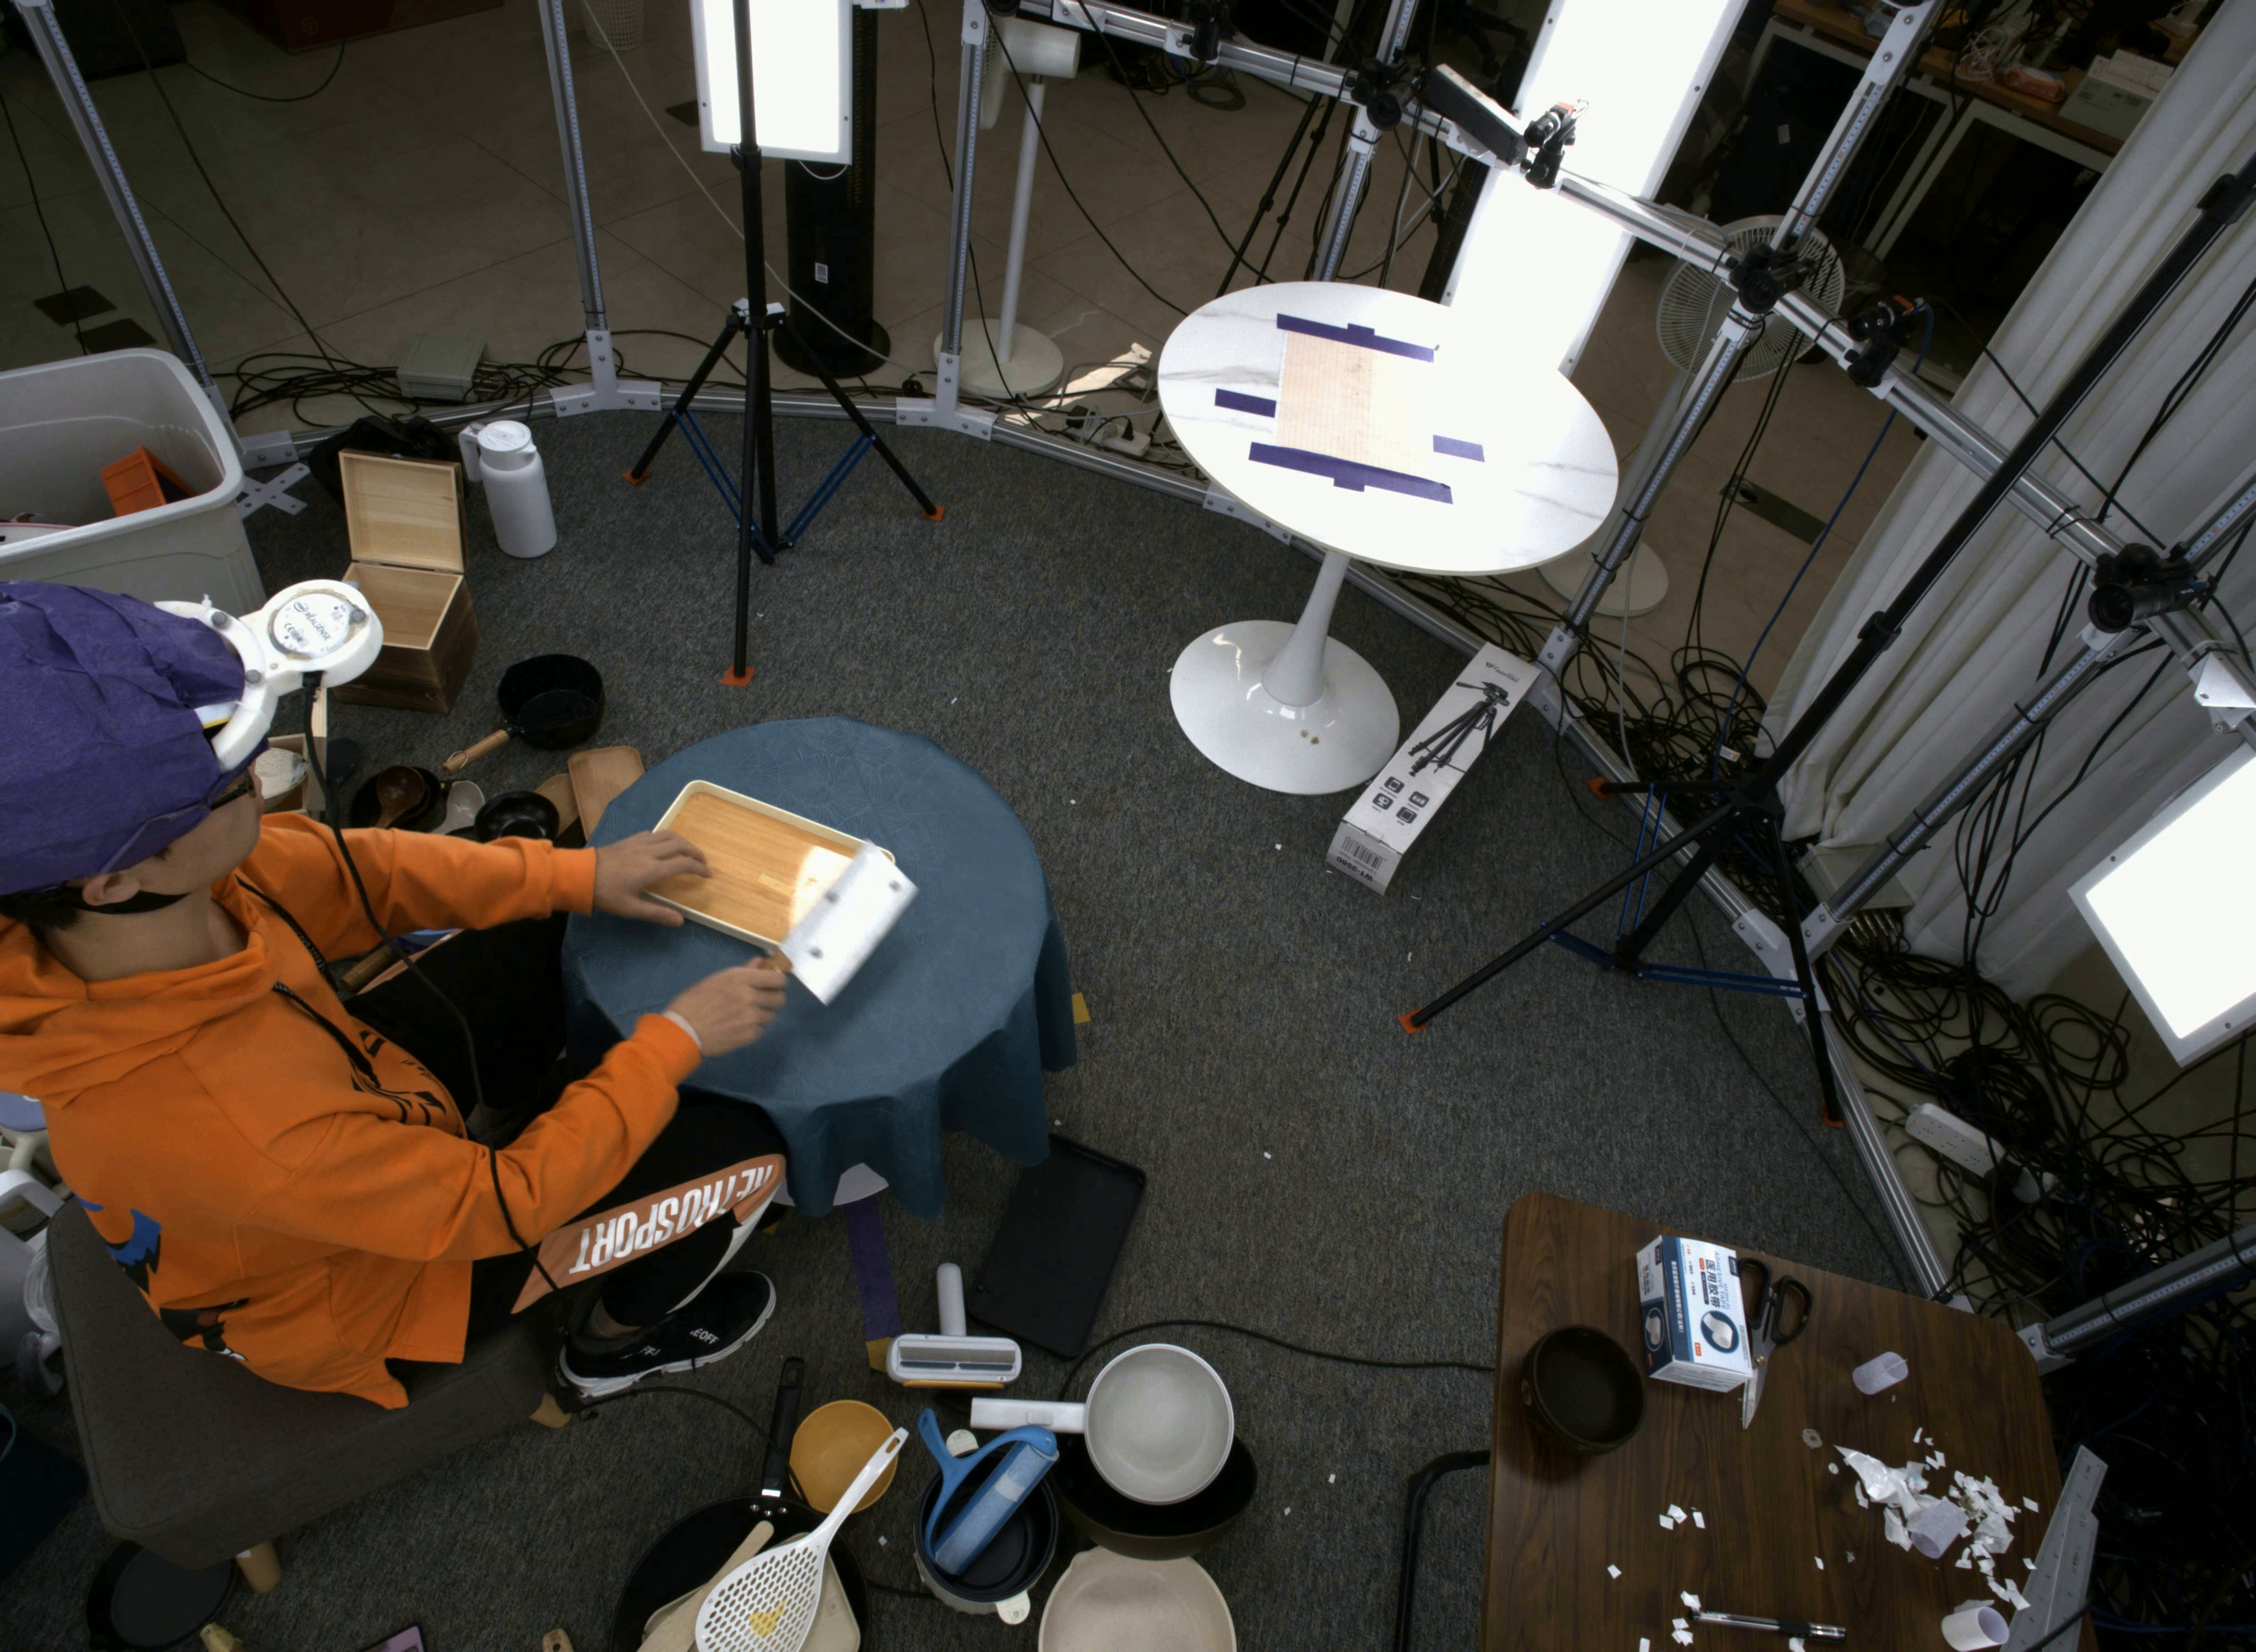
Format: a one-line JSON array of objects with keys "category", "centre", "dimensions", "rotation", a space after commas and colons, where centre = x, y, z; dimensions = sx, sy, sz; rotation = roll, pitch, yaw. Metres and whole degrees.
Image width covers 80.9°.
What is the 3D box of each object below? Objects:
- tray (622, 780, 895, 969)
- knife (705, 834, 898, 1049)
[{"category": "tray", "centre": [-0.466, 0.059, 1.640], "dimensions": [0.297, 0.028, 0.189], "rotation": [21, 51, 1]}, {"category": "knife", "centre": [-0.368, 0.143, 1.505], "dimensions": [0.096, 0.020, 0.304], "rotation": [50, 56, -26]}]
